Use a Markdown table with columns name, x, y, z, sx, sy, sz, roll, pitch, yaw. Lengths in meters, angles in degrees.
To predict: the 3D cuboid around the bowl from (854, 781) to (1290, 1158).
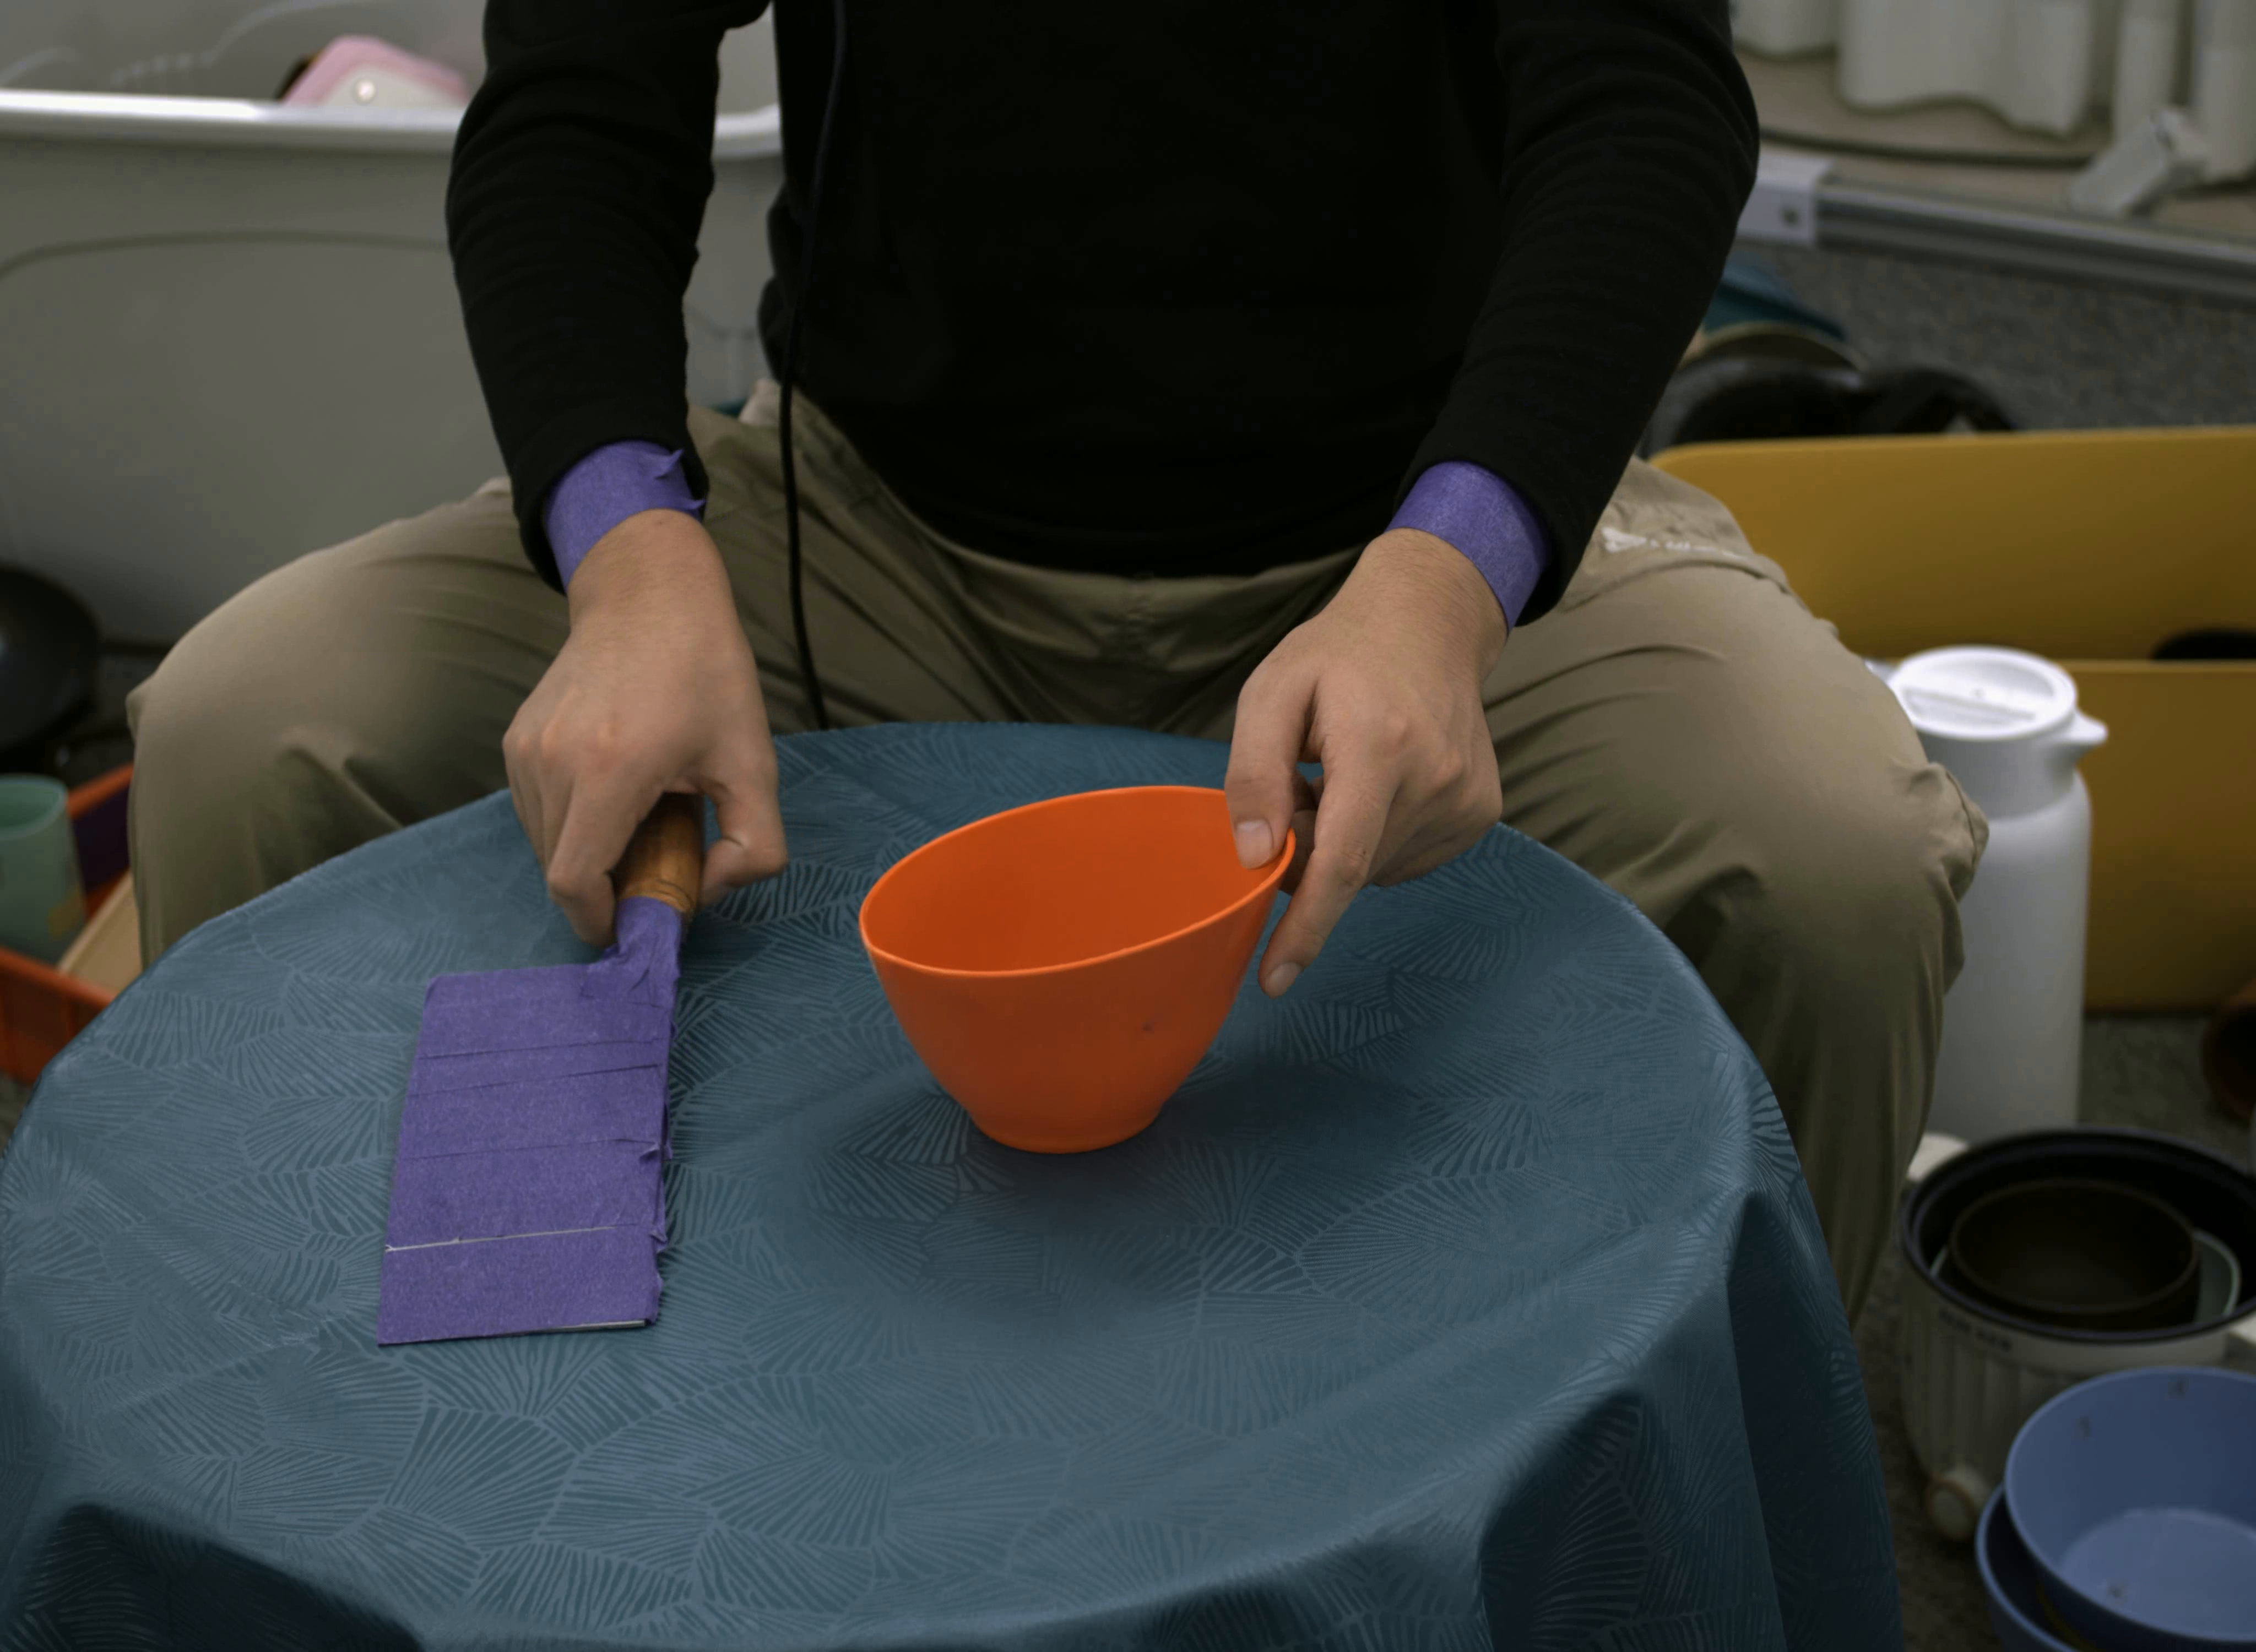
| name | x | y | z | sx | sy | sz | roll | pitch | yaw |
| --- | --- | --- | --- | --- | --- | --- | --- | --- | --- |
| bowl | -0.016 | 0.053 | 1.883 | 0.147 | 0.103 | 0.150 | -4 | 28 | 2 |

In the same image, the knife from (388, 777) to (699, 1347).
| name | x | y | z | sx | sy | sz | roll | pitch | yaw |
| --- | --- | --- | --- | --- | --- | --- | --- | --- | --- |
| knife | -0.198 | 0.076 | 1.923 | 0.103 | 0.032 | 0.320 | -3 | 30 | 0 |
